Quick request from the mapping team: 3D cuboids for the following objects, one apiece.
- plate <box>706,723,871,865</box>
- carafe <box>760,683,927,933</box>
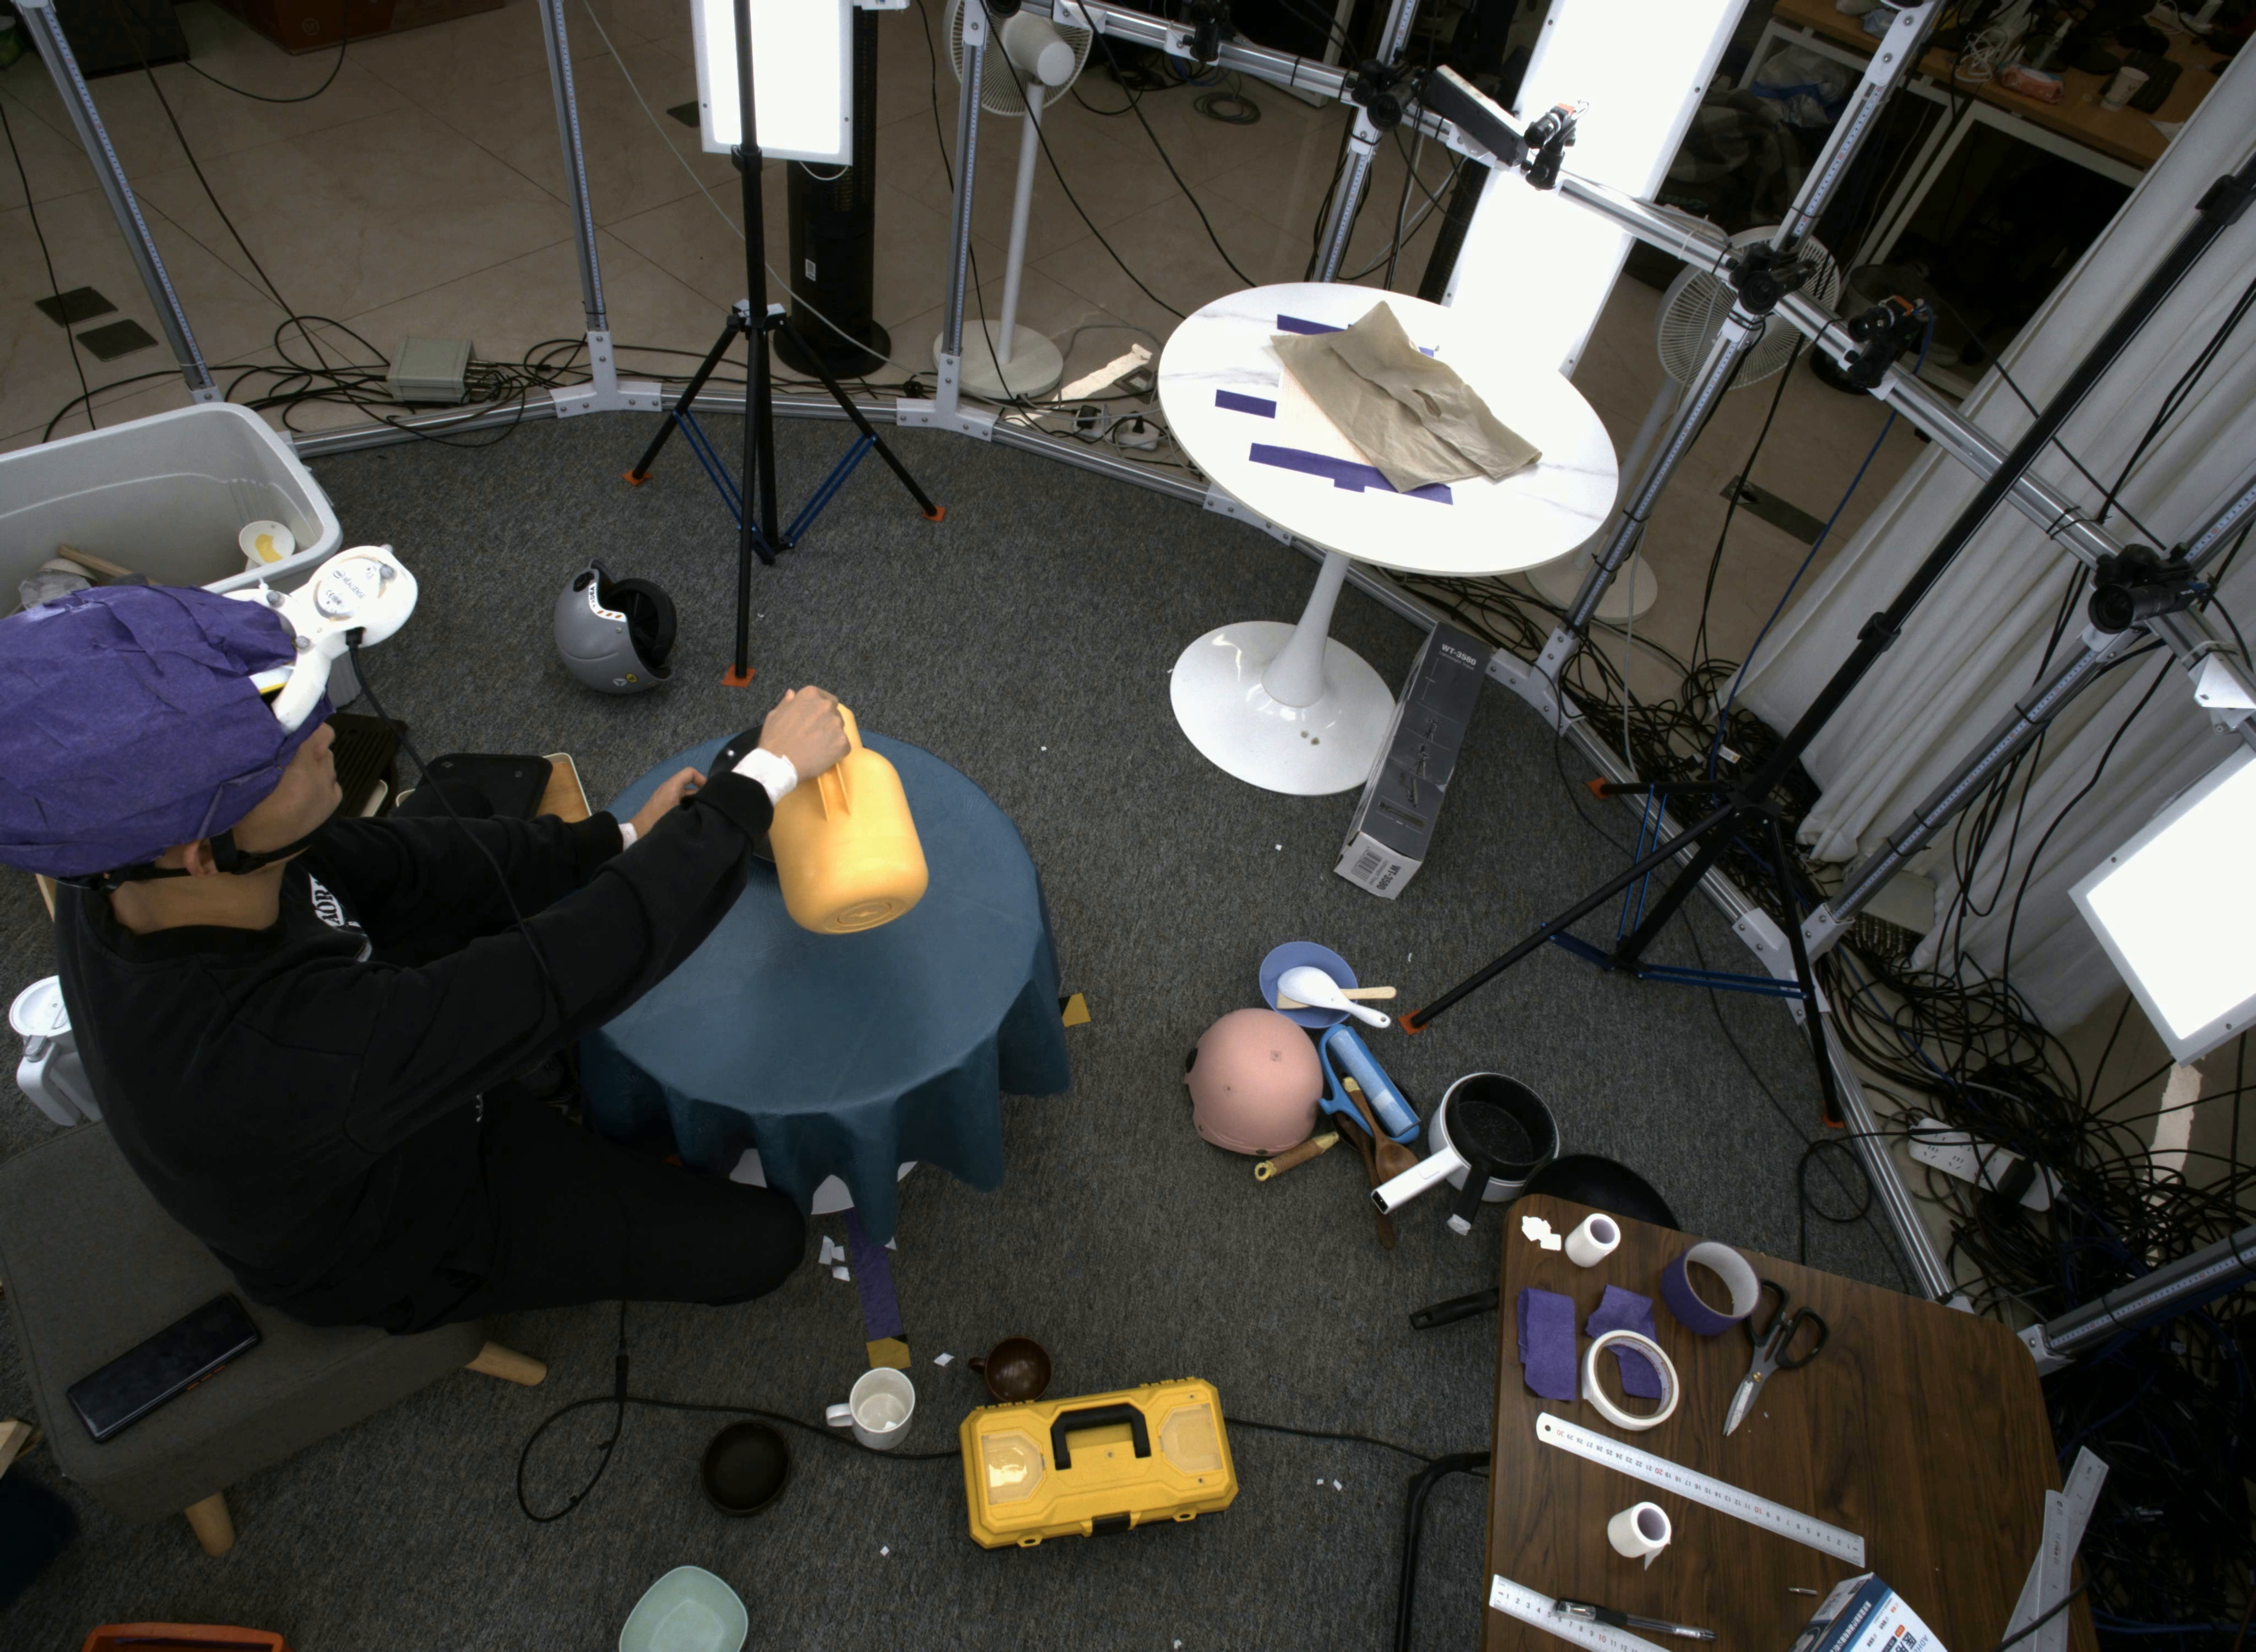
[{"bbox_3d":[-0.434,-0.041,1.719,0.246,0.024,0.240,13,51,-15],"label":"plate"},{"bbox_3d":[-0.335,-0.029,1.462,0.163,0.206,0.257,-18,71,-11],"label":"carafe"}]
